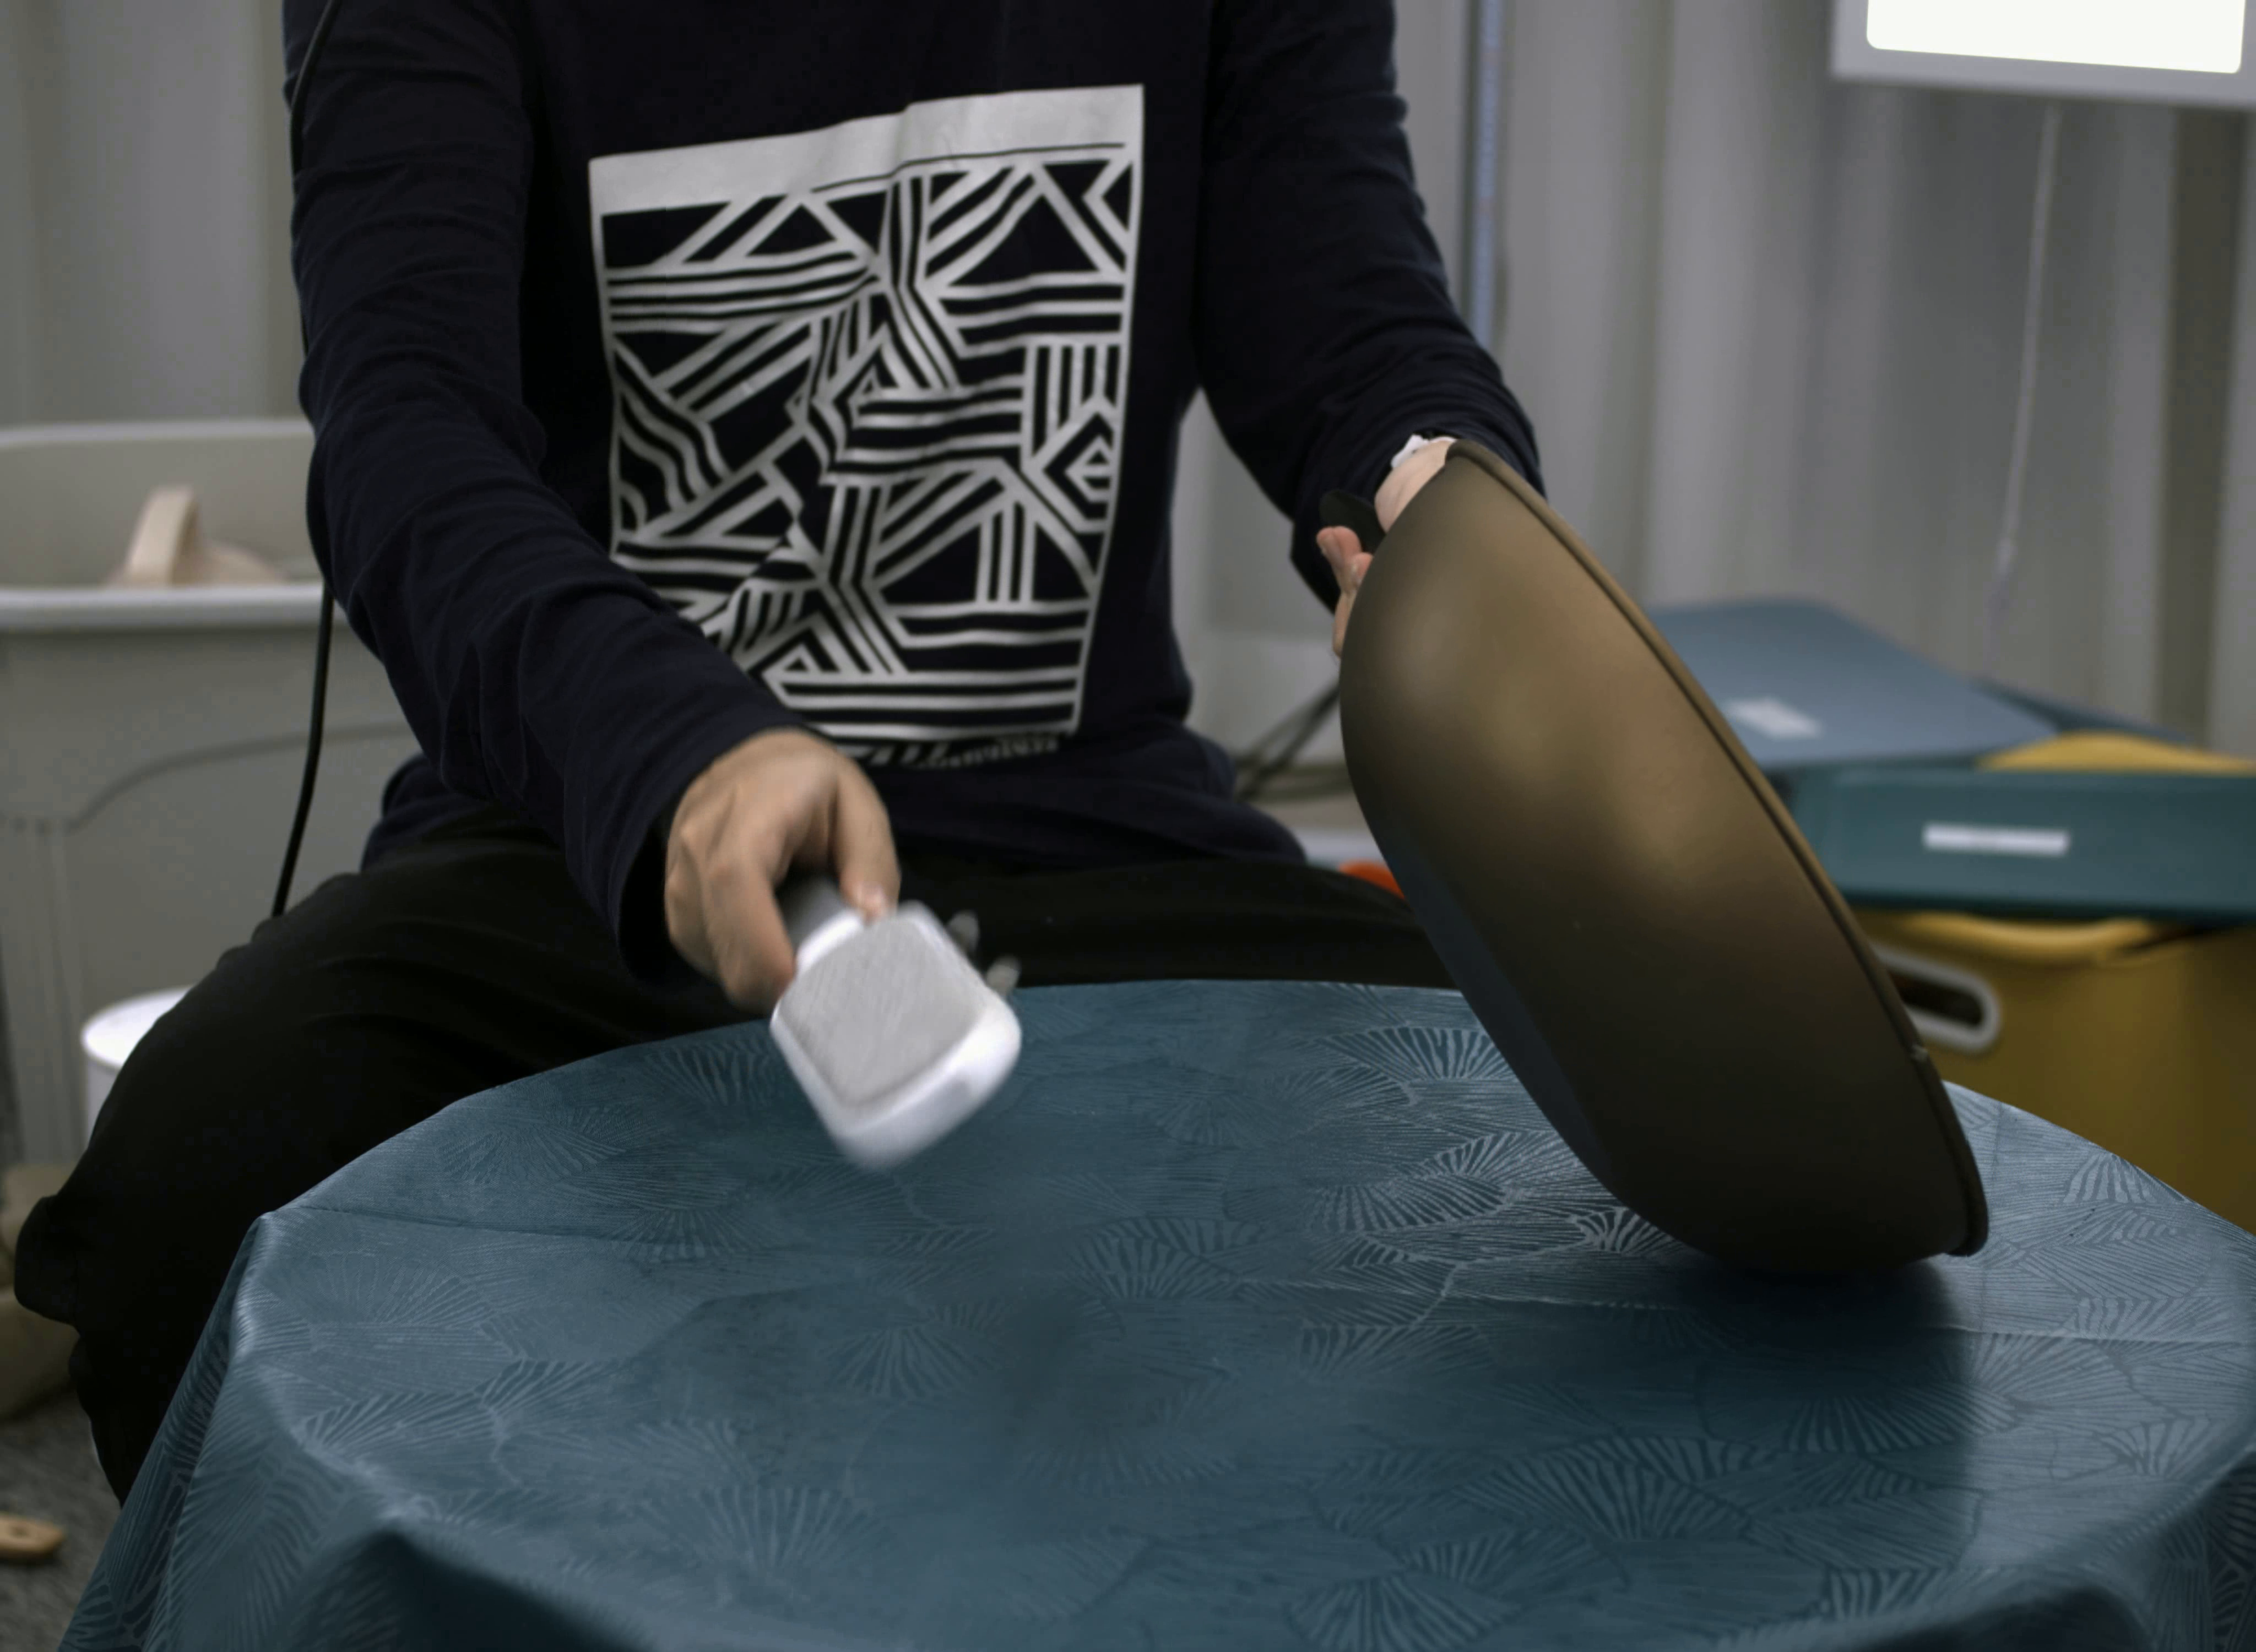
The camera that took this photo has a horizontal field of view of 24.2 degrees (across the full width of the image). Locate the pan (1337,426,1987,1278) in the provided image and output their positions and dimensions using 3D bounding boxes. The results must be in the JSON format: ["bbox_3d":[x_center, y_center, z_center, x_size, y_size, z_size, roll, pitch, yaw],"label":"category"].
[{"bbox_3d":[0.113,-0.006,1.613,0.087,0.292,0.458,-32,26,-4],"label":"pan"}]

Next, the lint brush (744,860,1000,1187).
[{"bbox_3d":[-0.081,0.049,1.521,0.060,0.021,0.306,-41,15,-1],"label":"lint brush"}]
